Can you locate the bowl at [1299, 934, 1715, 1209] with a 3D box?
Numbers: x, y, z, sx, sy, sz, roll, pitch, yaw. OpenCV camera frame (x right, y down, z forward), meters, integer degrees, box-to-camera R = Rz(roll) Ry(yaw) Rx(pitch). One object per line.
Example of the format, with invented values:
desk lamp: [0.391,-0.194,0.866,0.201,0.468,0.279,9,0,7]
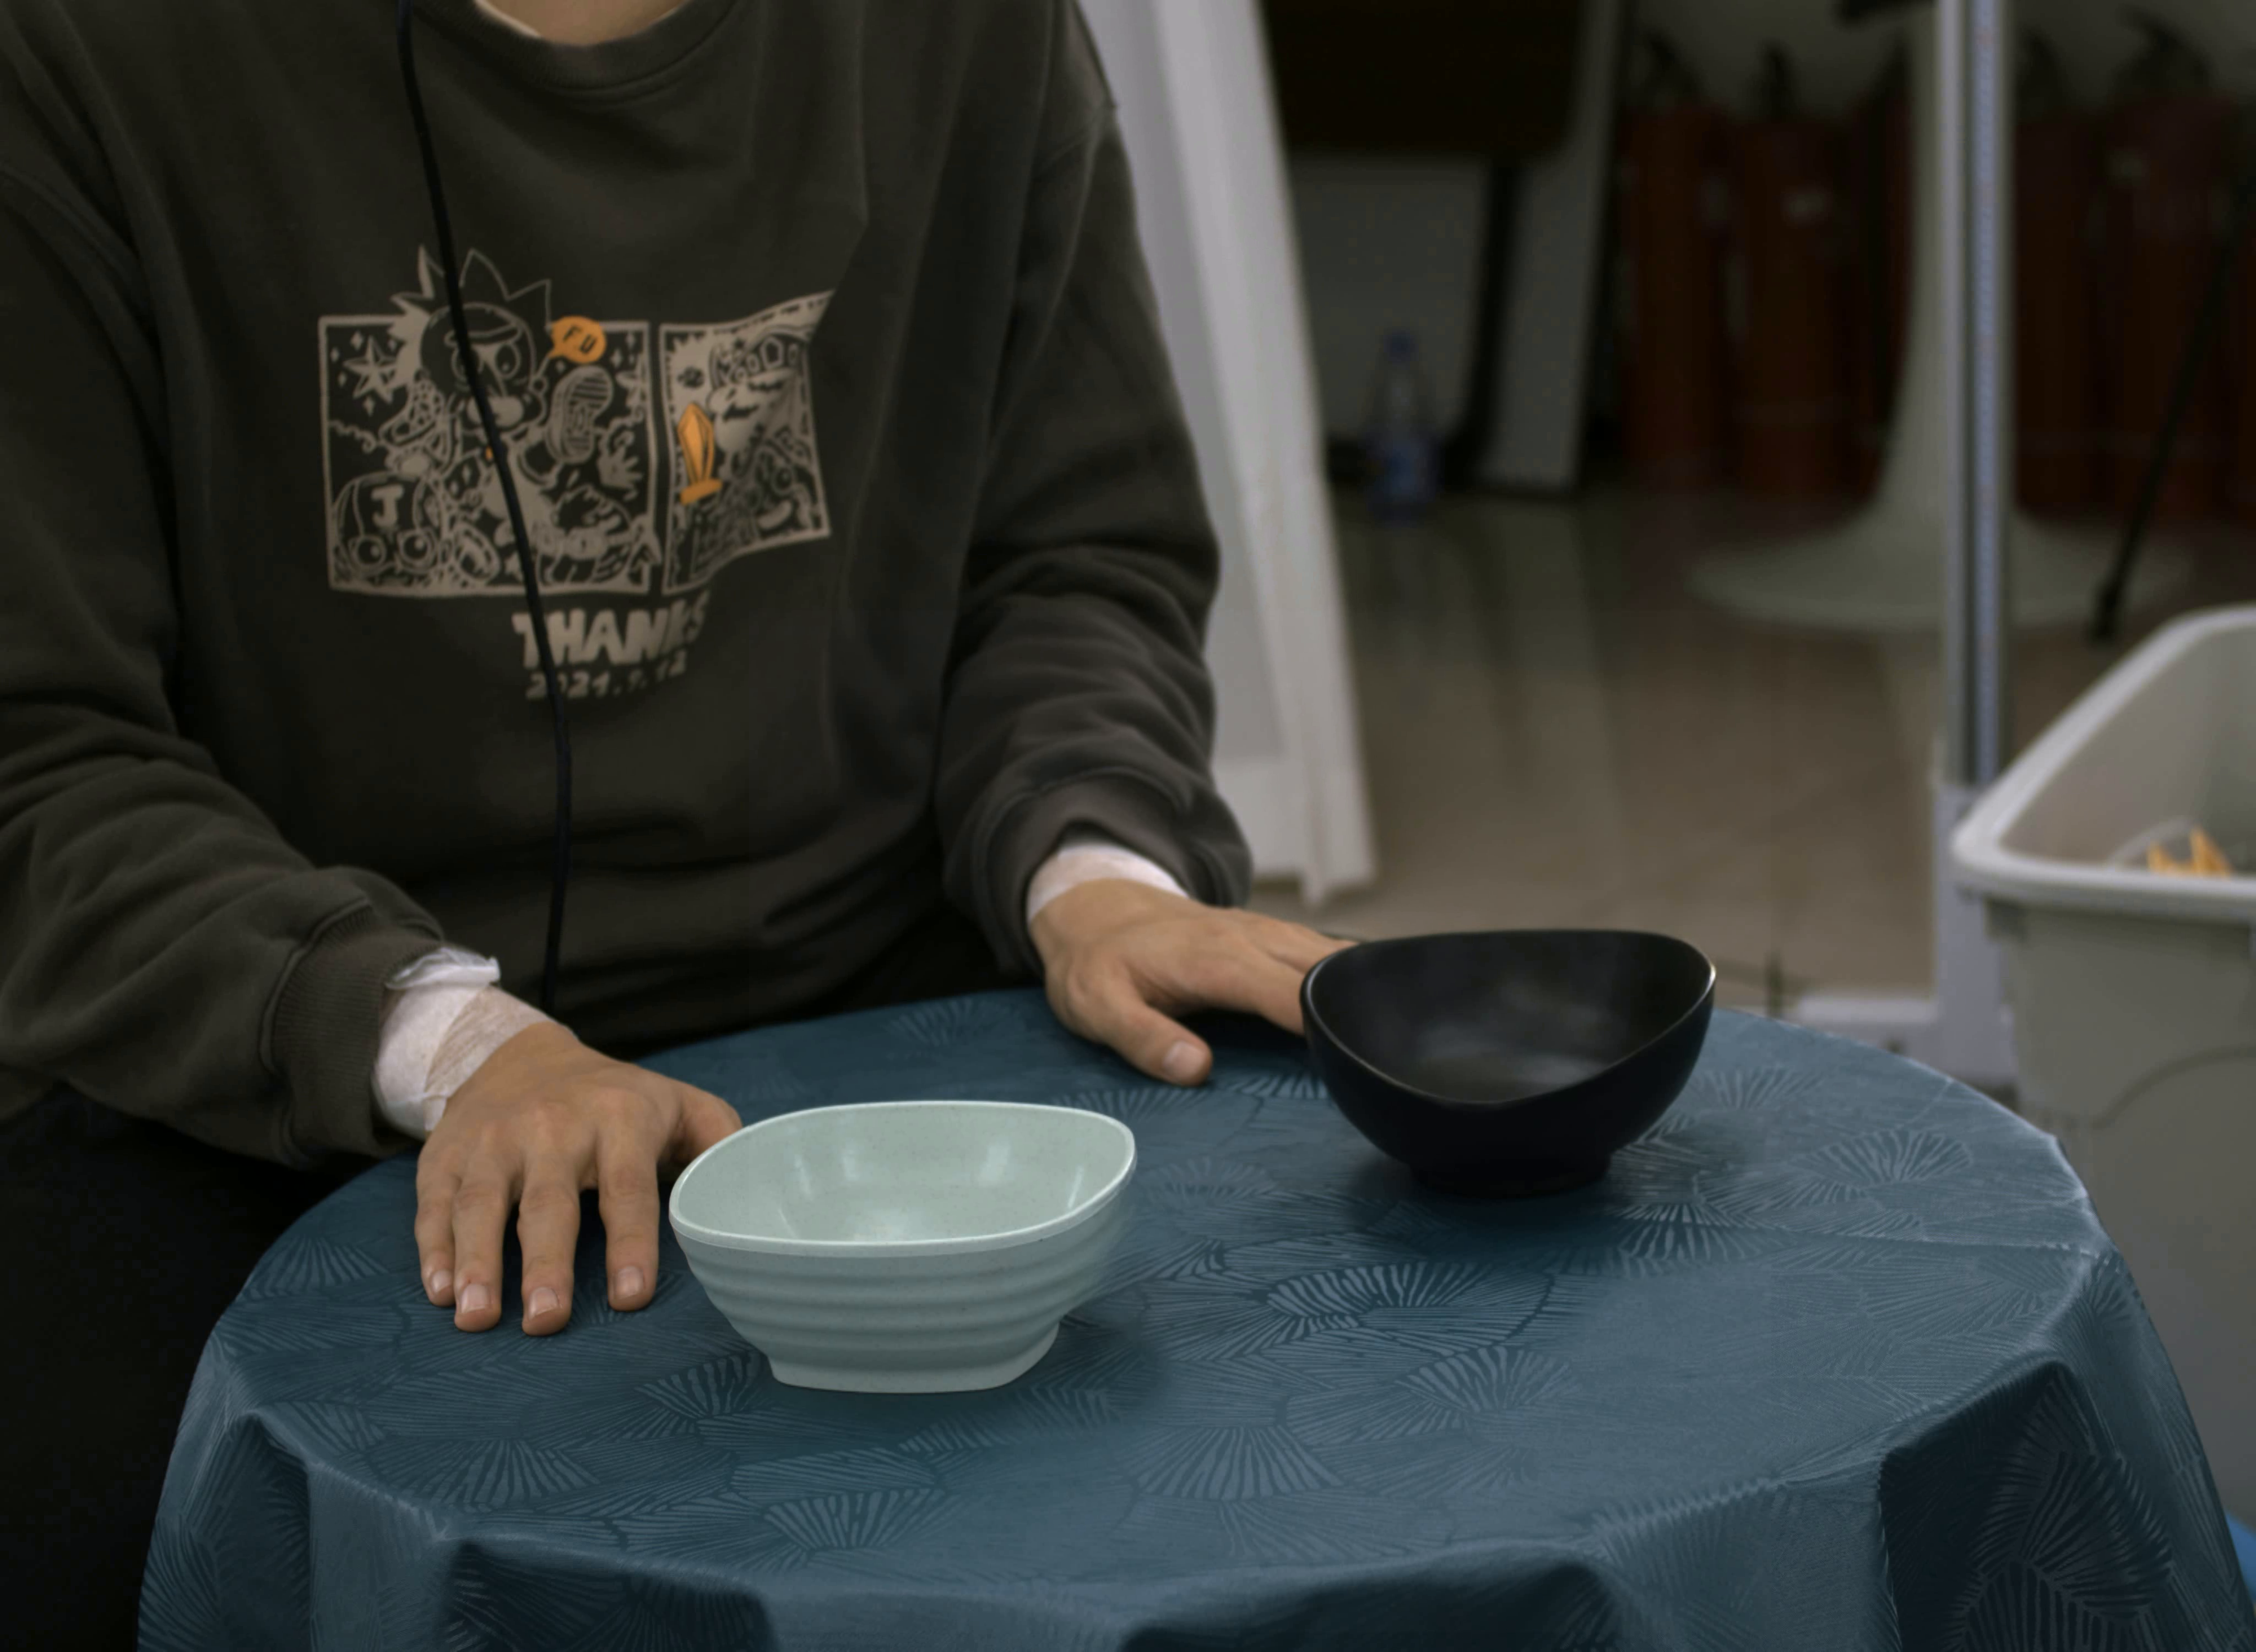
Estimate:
bowl: [0.125,0.084,1.762,0.136,0.067,0.170,-2,15,8]

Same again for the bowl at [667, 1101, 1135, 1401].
bowl: [-0.067,0.132,1.632,0.149,0.059,0.152,-2,14,0]
